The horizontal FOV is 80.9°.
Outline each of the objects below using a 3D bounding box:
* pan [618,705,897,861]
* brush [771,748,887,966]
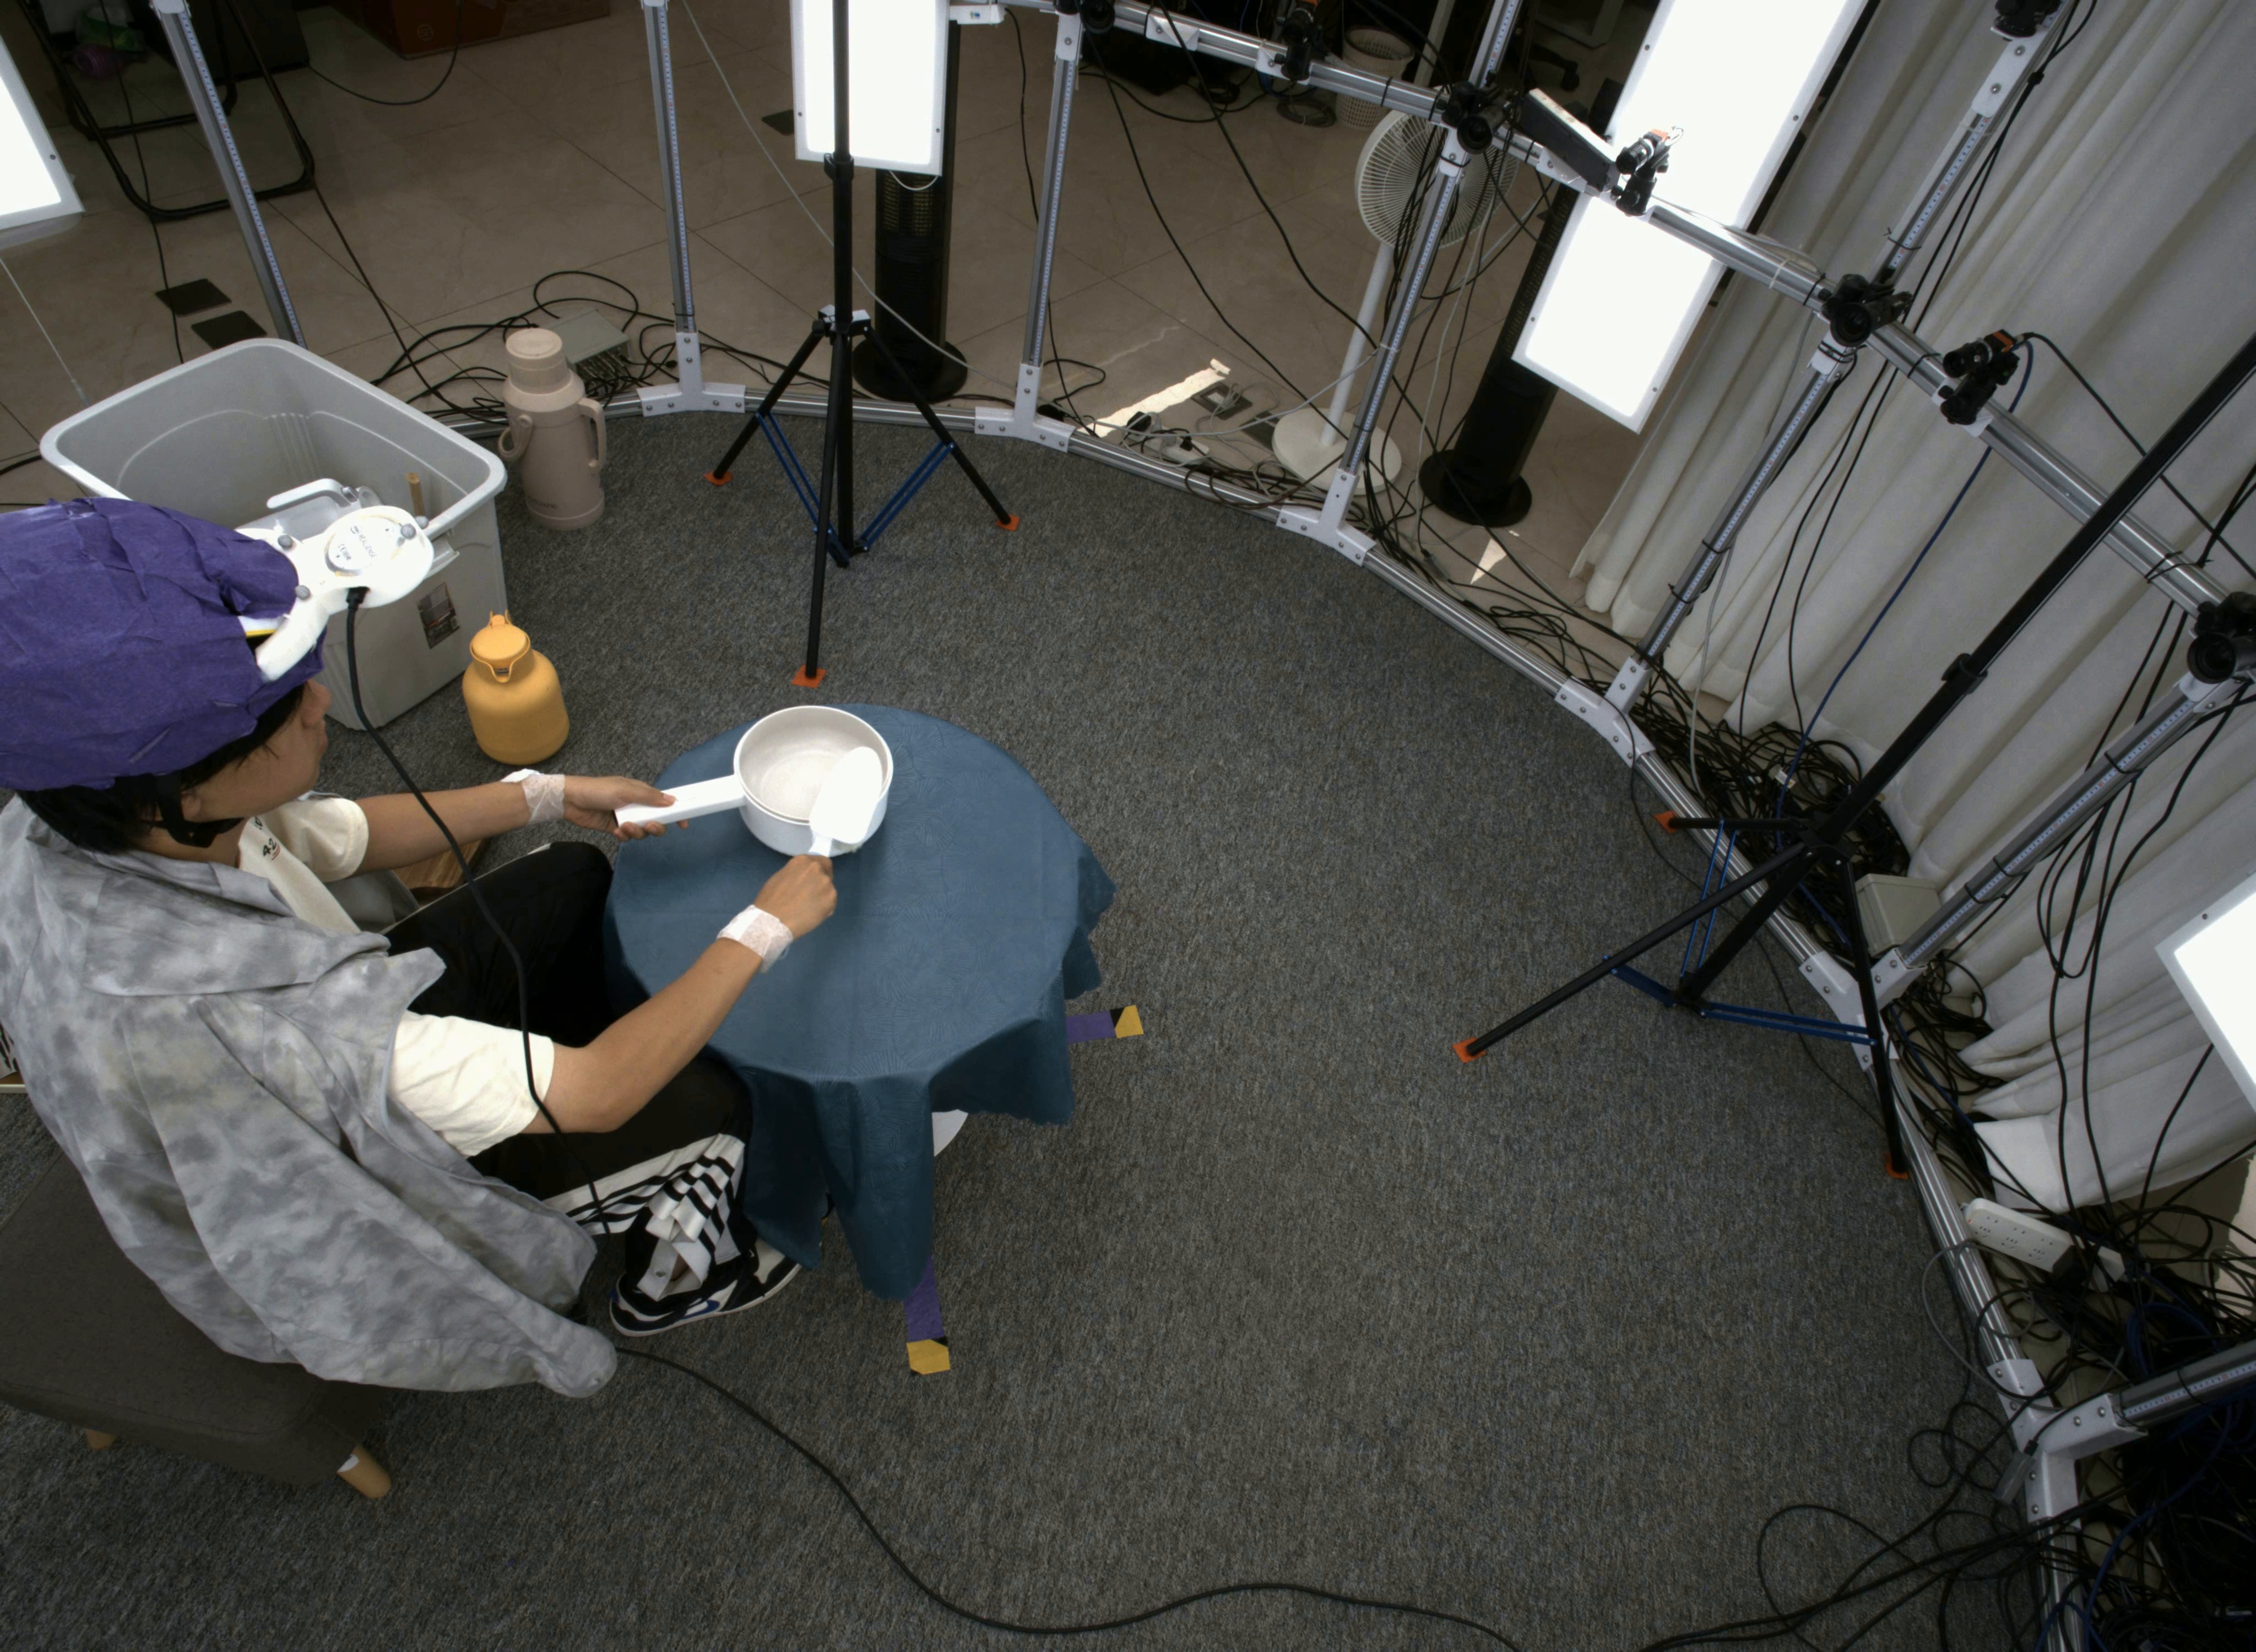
[{"bbox_3d":[-0.472,-0.033,1.666,0.357,0.104,0.196,-16,59,-27],"label":"pan"},{"bbox_3d":[-0.360,0.043,1.541,0.081,0.088,0.321,-7,47,26],"label":"brush"}]
